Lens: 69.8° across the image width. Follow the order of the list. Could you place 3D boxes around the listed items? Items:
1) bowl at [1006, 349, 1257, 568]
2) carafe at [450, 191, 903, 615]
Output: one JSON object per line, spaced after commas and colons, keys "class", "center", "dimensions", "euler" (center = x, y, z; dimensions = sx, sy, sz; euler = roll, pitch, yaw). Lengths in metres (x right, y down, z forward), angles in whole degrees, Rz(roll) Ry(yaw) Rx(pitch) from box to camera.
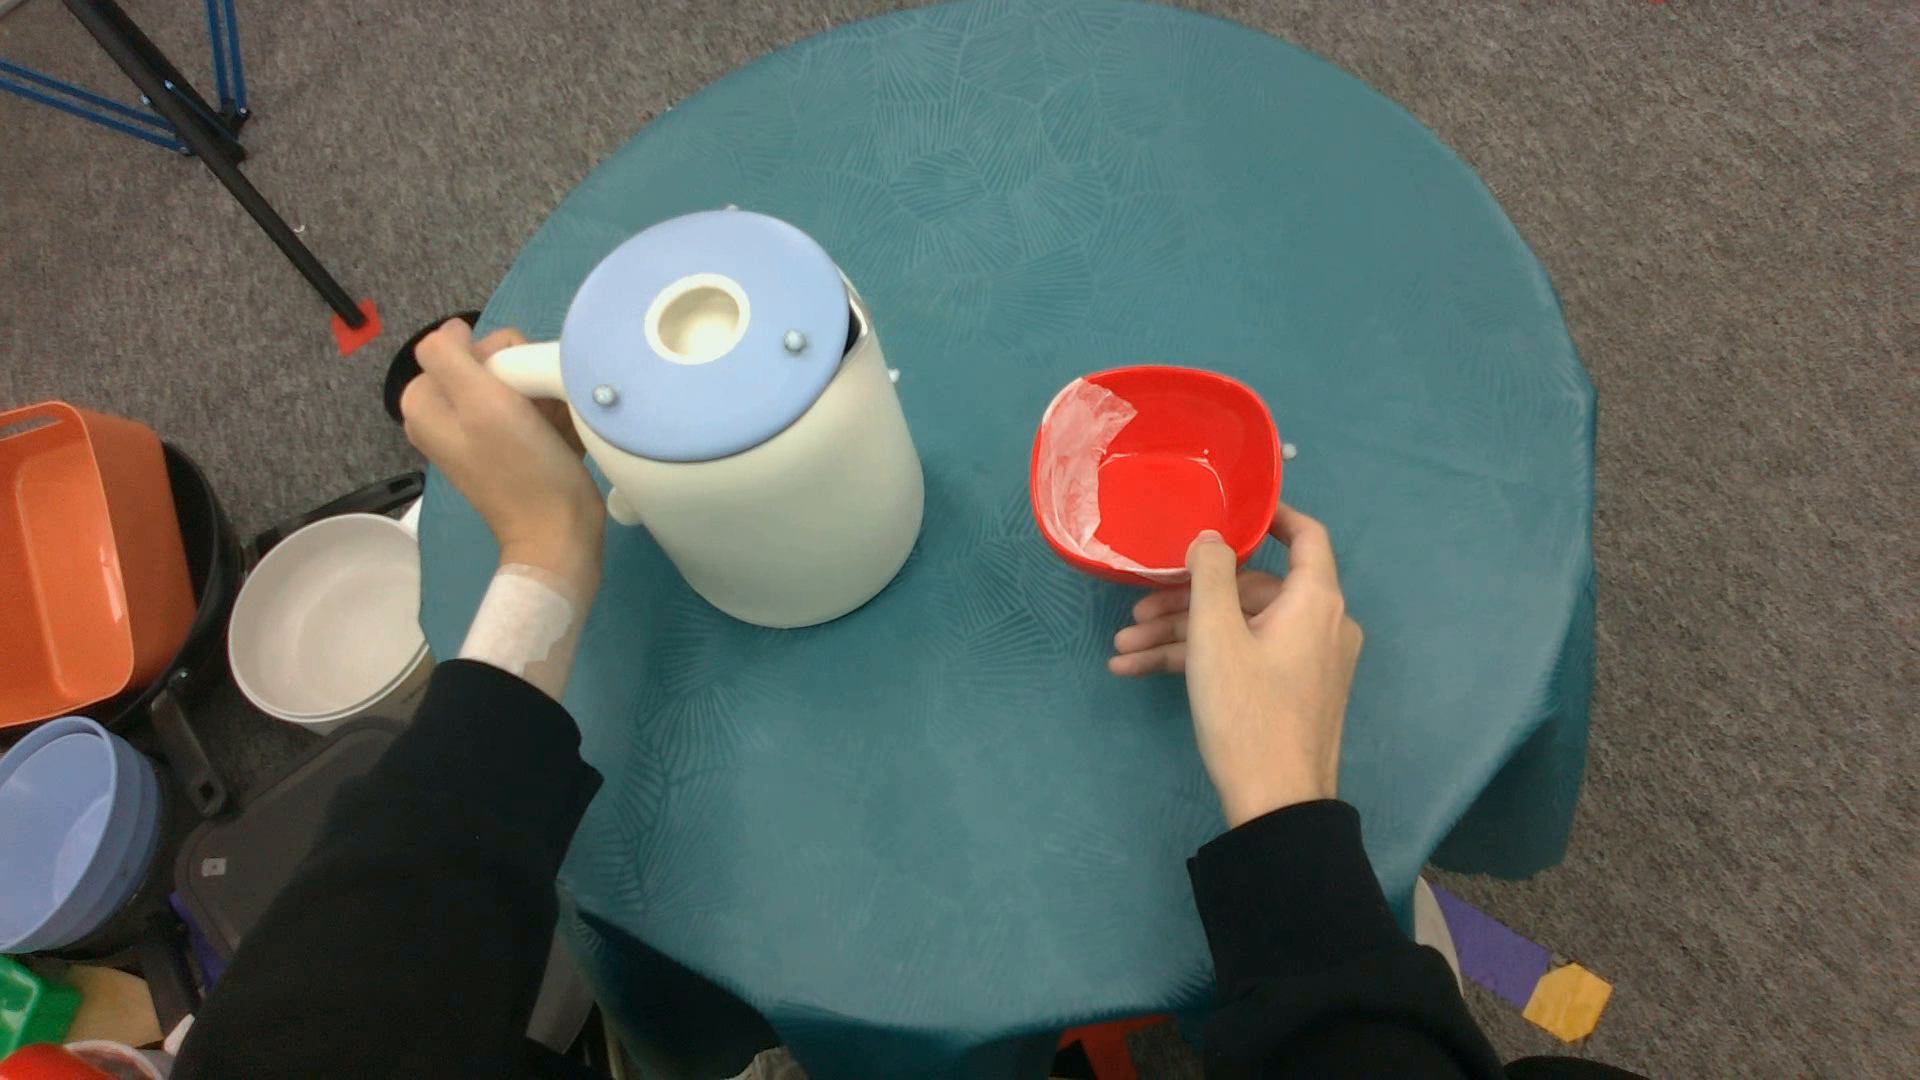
{"class": "bowl", "center": [0.077, -0.029, 0.628], "dimensions": [0.119, 0.051, 0.119], "euler": [-2, 57, 3]}
{"class": "carafe", "center": [-0.126, -0.054, 0.624], "dimensions": [0.191, 0.182, 0.133], "euler": [-4, 63, 8]}
